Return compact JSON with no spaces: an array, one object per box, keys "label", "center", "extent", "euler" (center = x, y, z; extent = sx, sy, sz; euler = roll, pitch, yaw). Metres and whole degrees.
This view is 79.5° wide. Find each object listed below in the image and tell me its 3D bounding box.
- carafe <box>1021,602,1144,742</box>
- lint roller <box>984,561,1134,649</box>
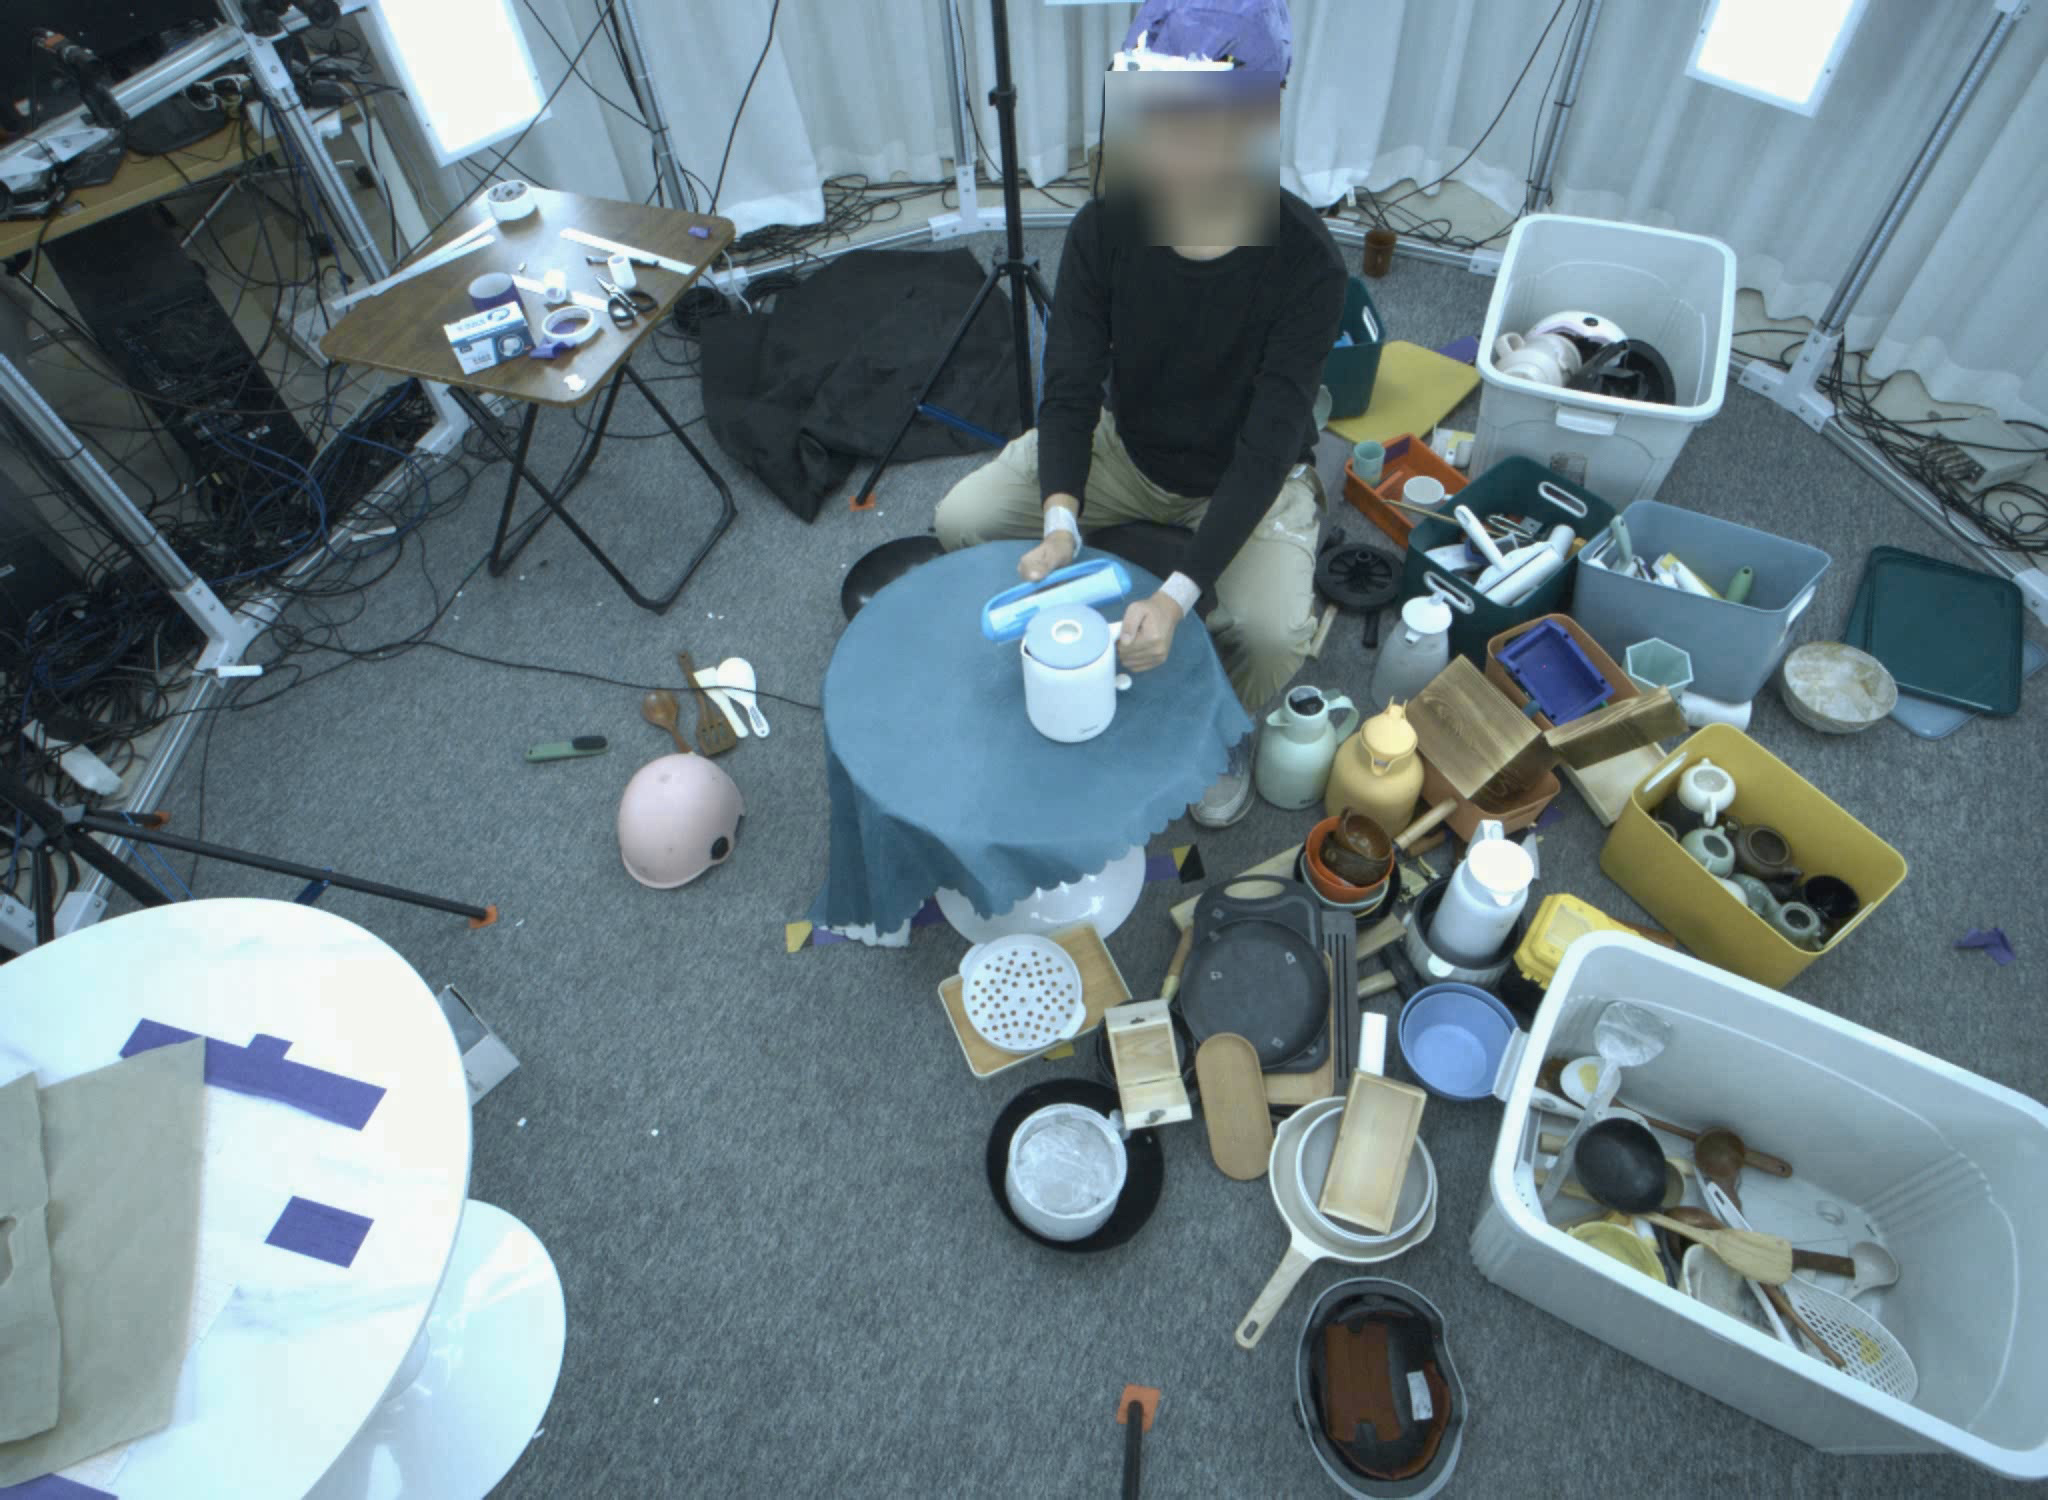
[{"label":"carafe","center":[0.086,-0.119,1.763],"extent":[0.192,0.184,0.130],"euler":[-20,56,-13]},{"label":"lint roller","center":[0.044,-0.236,1.844],"extent":[0.228,0.069,0.177],"euler":[-22,31,5]}]
